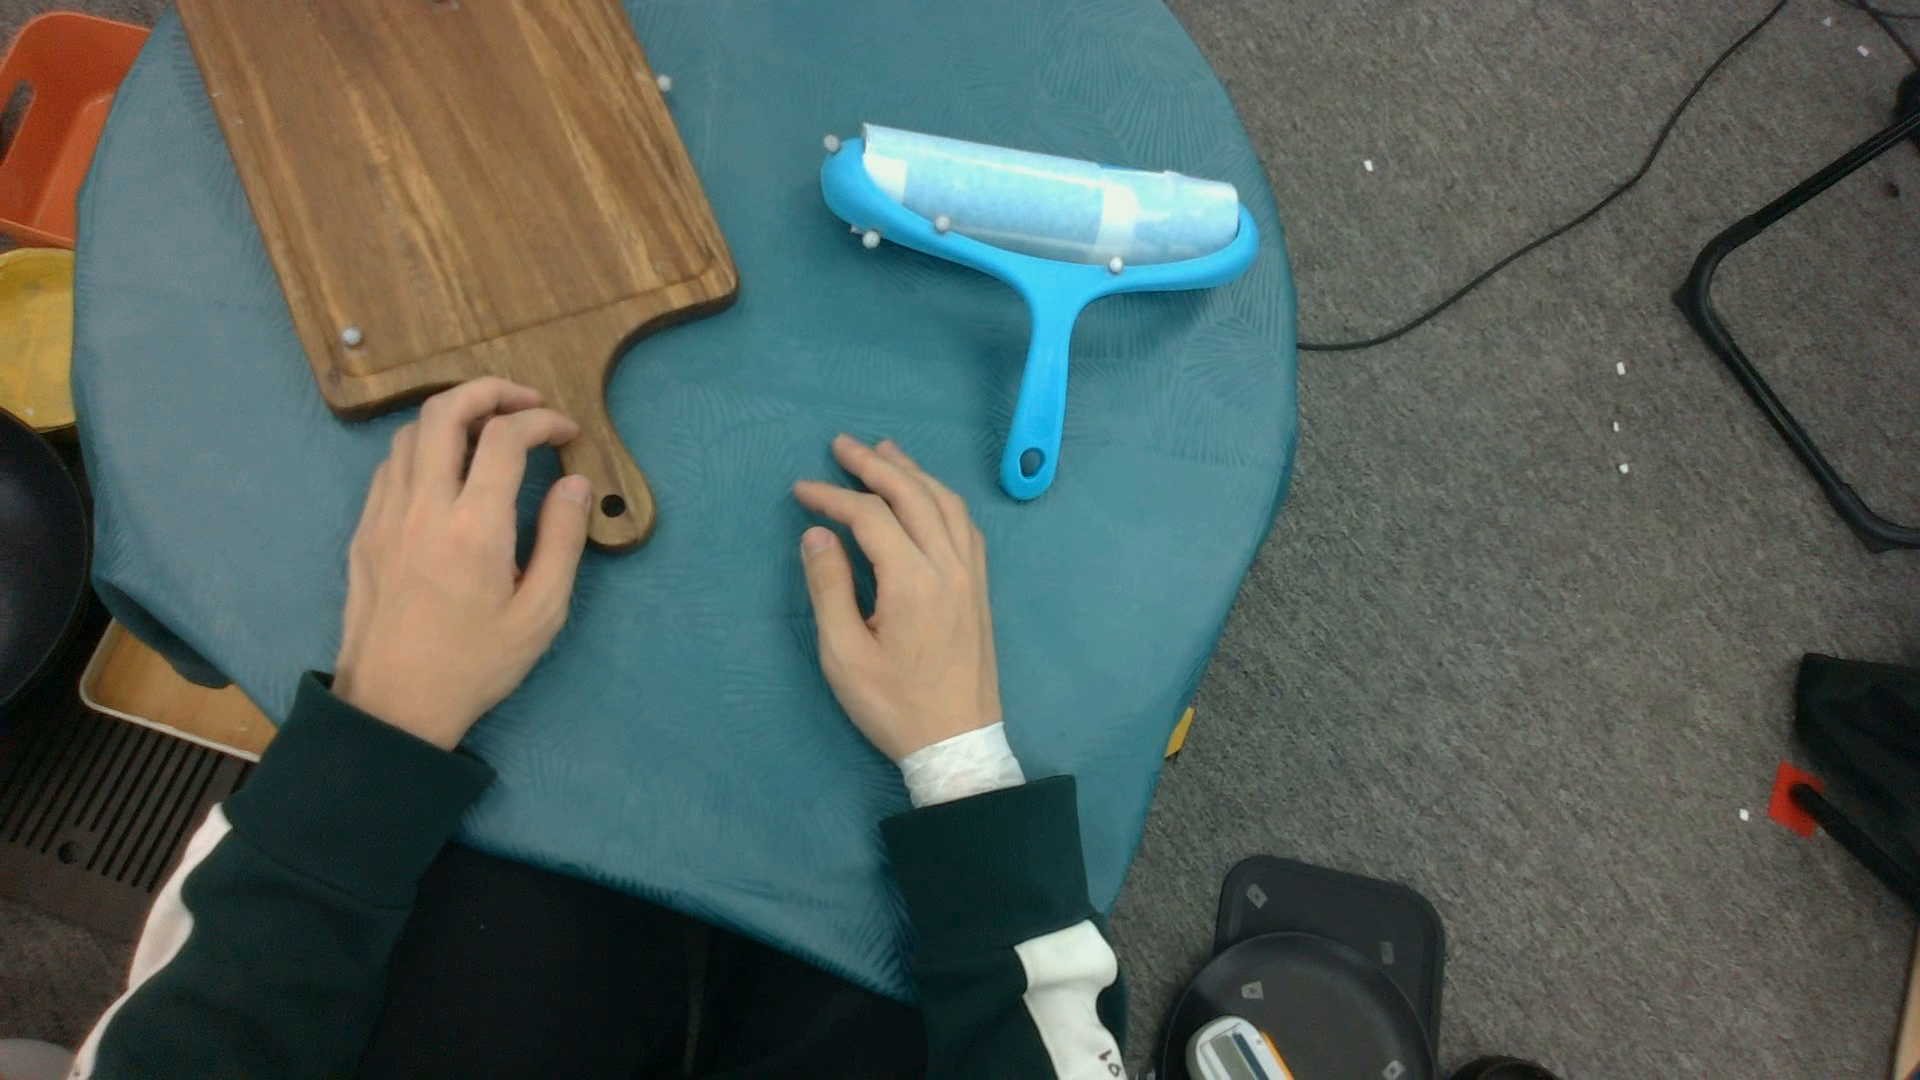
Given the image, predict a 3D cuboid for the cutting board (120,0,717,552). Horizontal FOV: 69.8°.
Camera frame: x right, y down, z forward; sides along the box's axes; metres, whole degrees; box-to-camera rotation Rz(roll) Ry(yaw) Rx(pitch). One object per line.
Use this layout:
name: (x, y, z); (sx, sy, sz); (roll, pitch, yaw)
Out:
cutting board: (-0.236, -0.152, 0.655); (0.201, 0.023, 0.352); (-24, 81, -18)

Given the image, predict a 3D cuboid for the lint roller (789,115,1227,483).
lint roller: (0.029, -0.123, 0.691); (0.229, 0.067, 0.180); (2, 73, -14)
